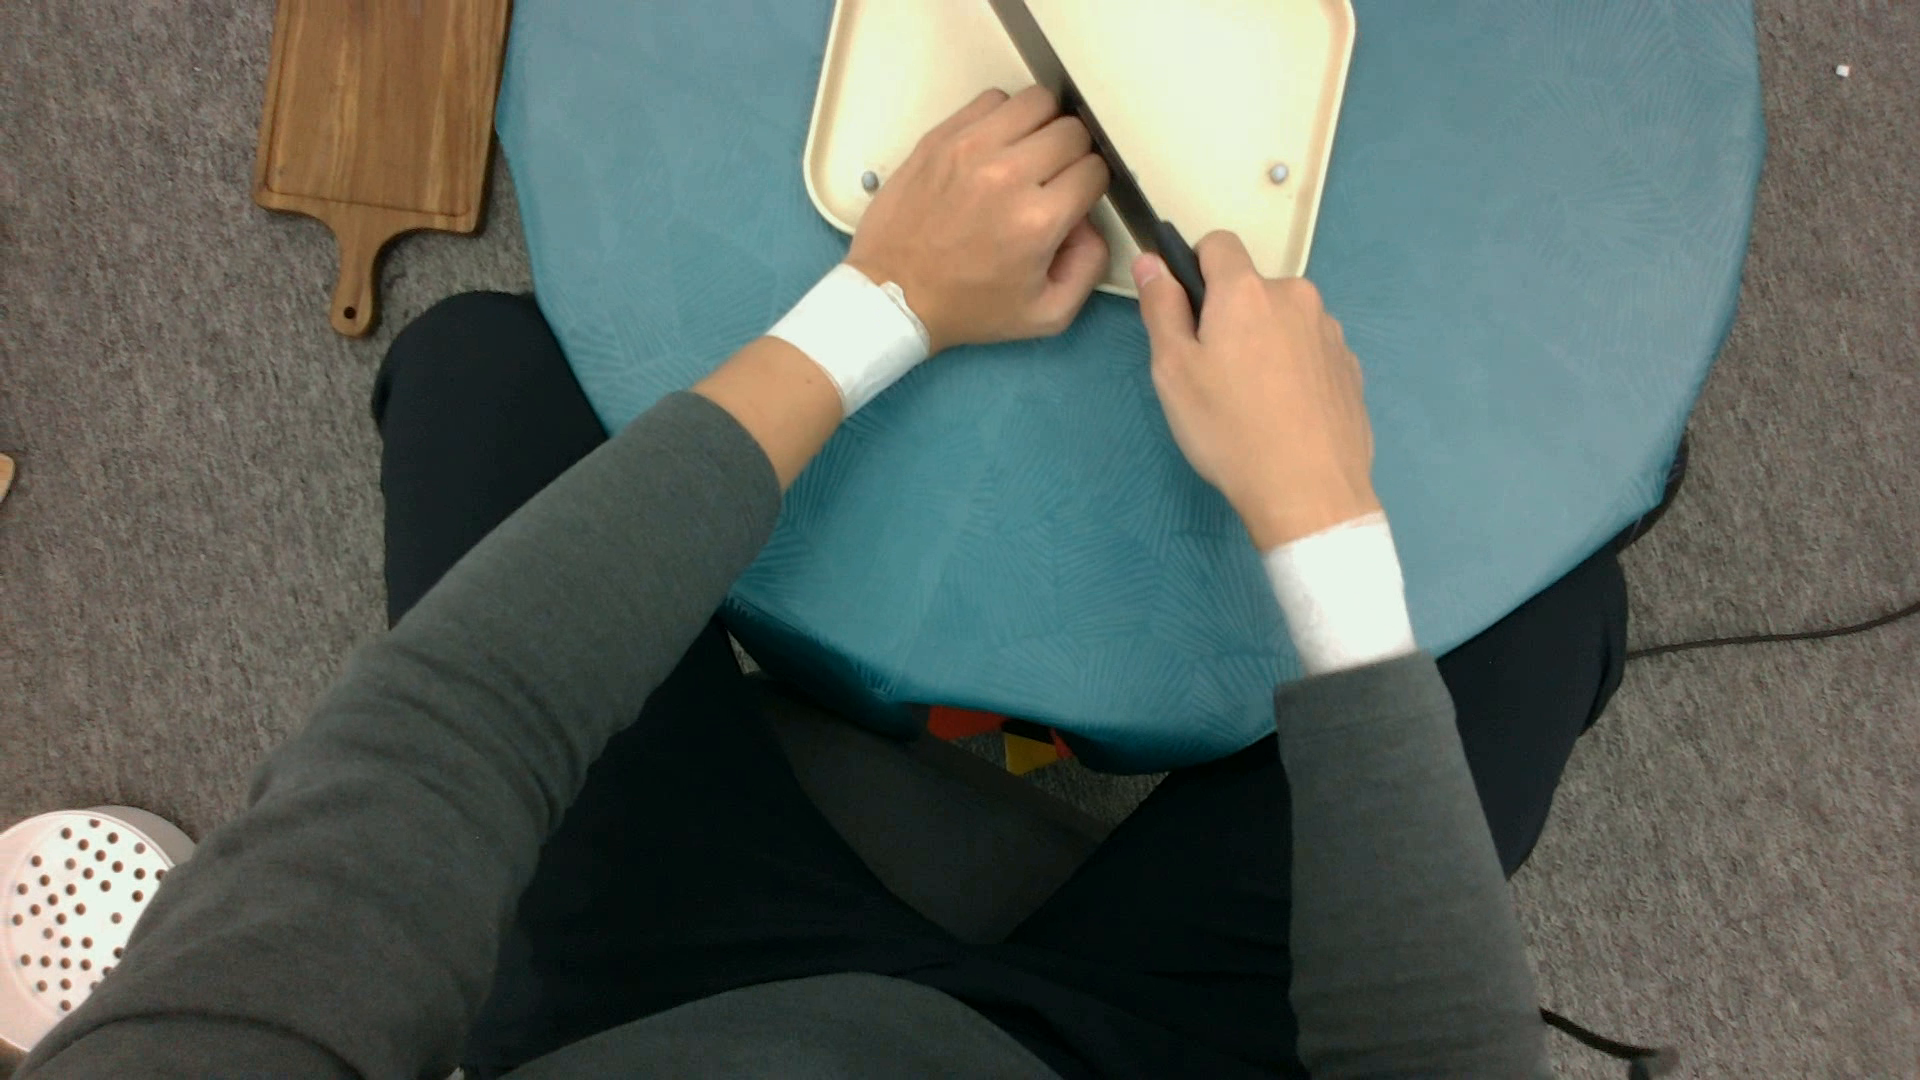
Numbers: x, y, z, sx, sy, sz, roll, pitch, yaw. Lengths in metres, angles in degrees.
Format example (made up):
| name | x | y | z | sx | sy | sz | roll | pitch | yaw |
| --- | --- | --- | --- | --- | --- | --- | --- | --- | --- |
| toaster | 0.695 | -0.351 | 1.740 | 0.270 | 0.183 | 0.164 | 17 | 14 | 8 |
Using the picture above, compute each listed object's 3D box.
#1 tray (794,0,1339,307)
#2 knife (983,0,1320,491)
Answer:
| name | x | y | z | sx | sy | sz | roll | pitch | yaw |
| --- | --- | --- | --- | --- | --- | --- | --- | --- | --- |
| tray | 0.050 | -0.210 | 0.652 | 0.239 | 0.017 | 0.171 | 12 | 88 | 0 |
| knife | 0.071 | -0.153 | 0.611 | 0.021 | 0.081 | 0.302 | -32 | 83 | 2 |
